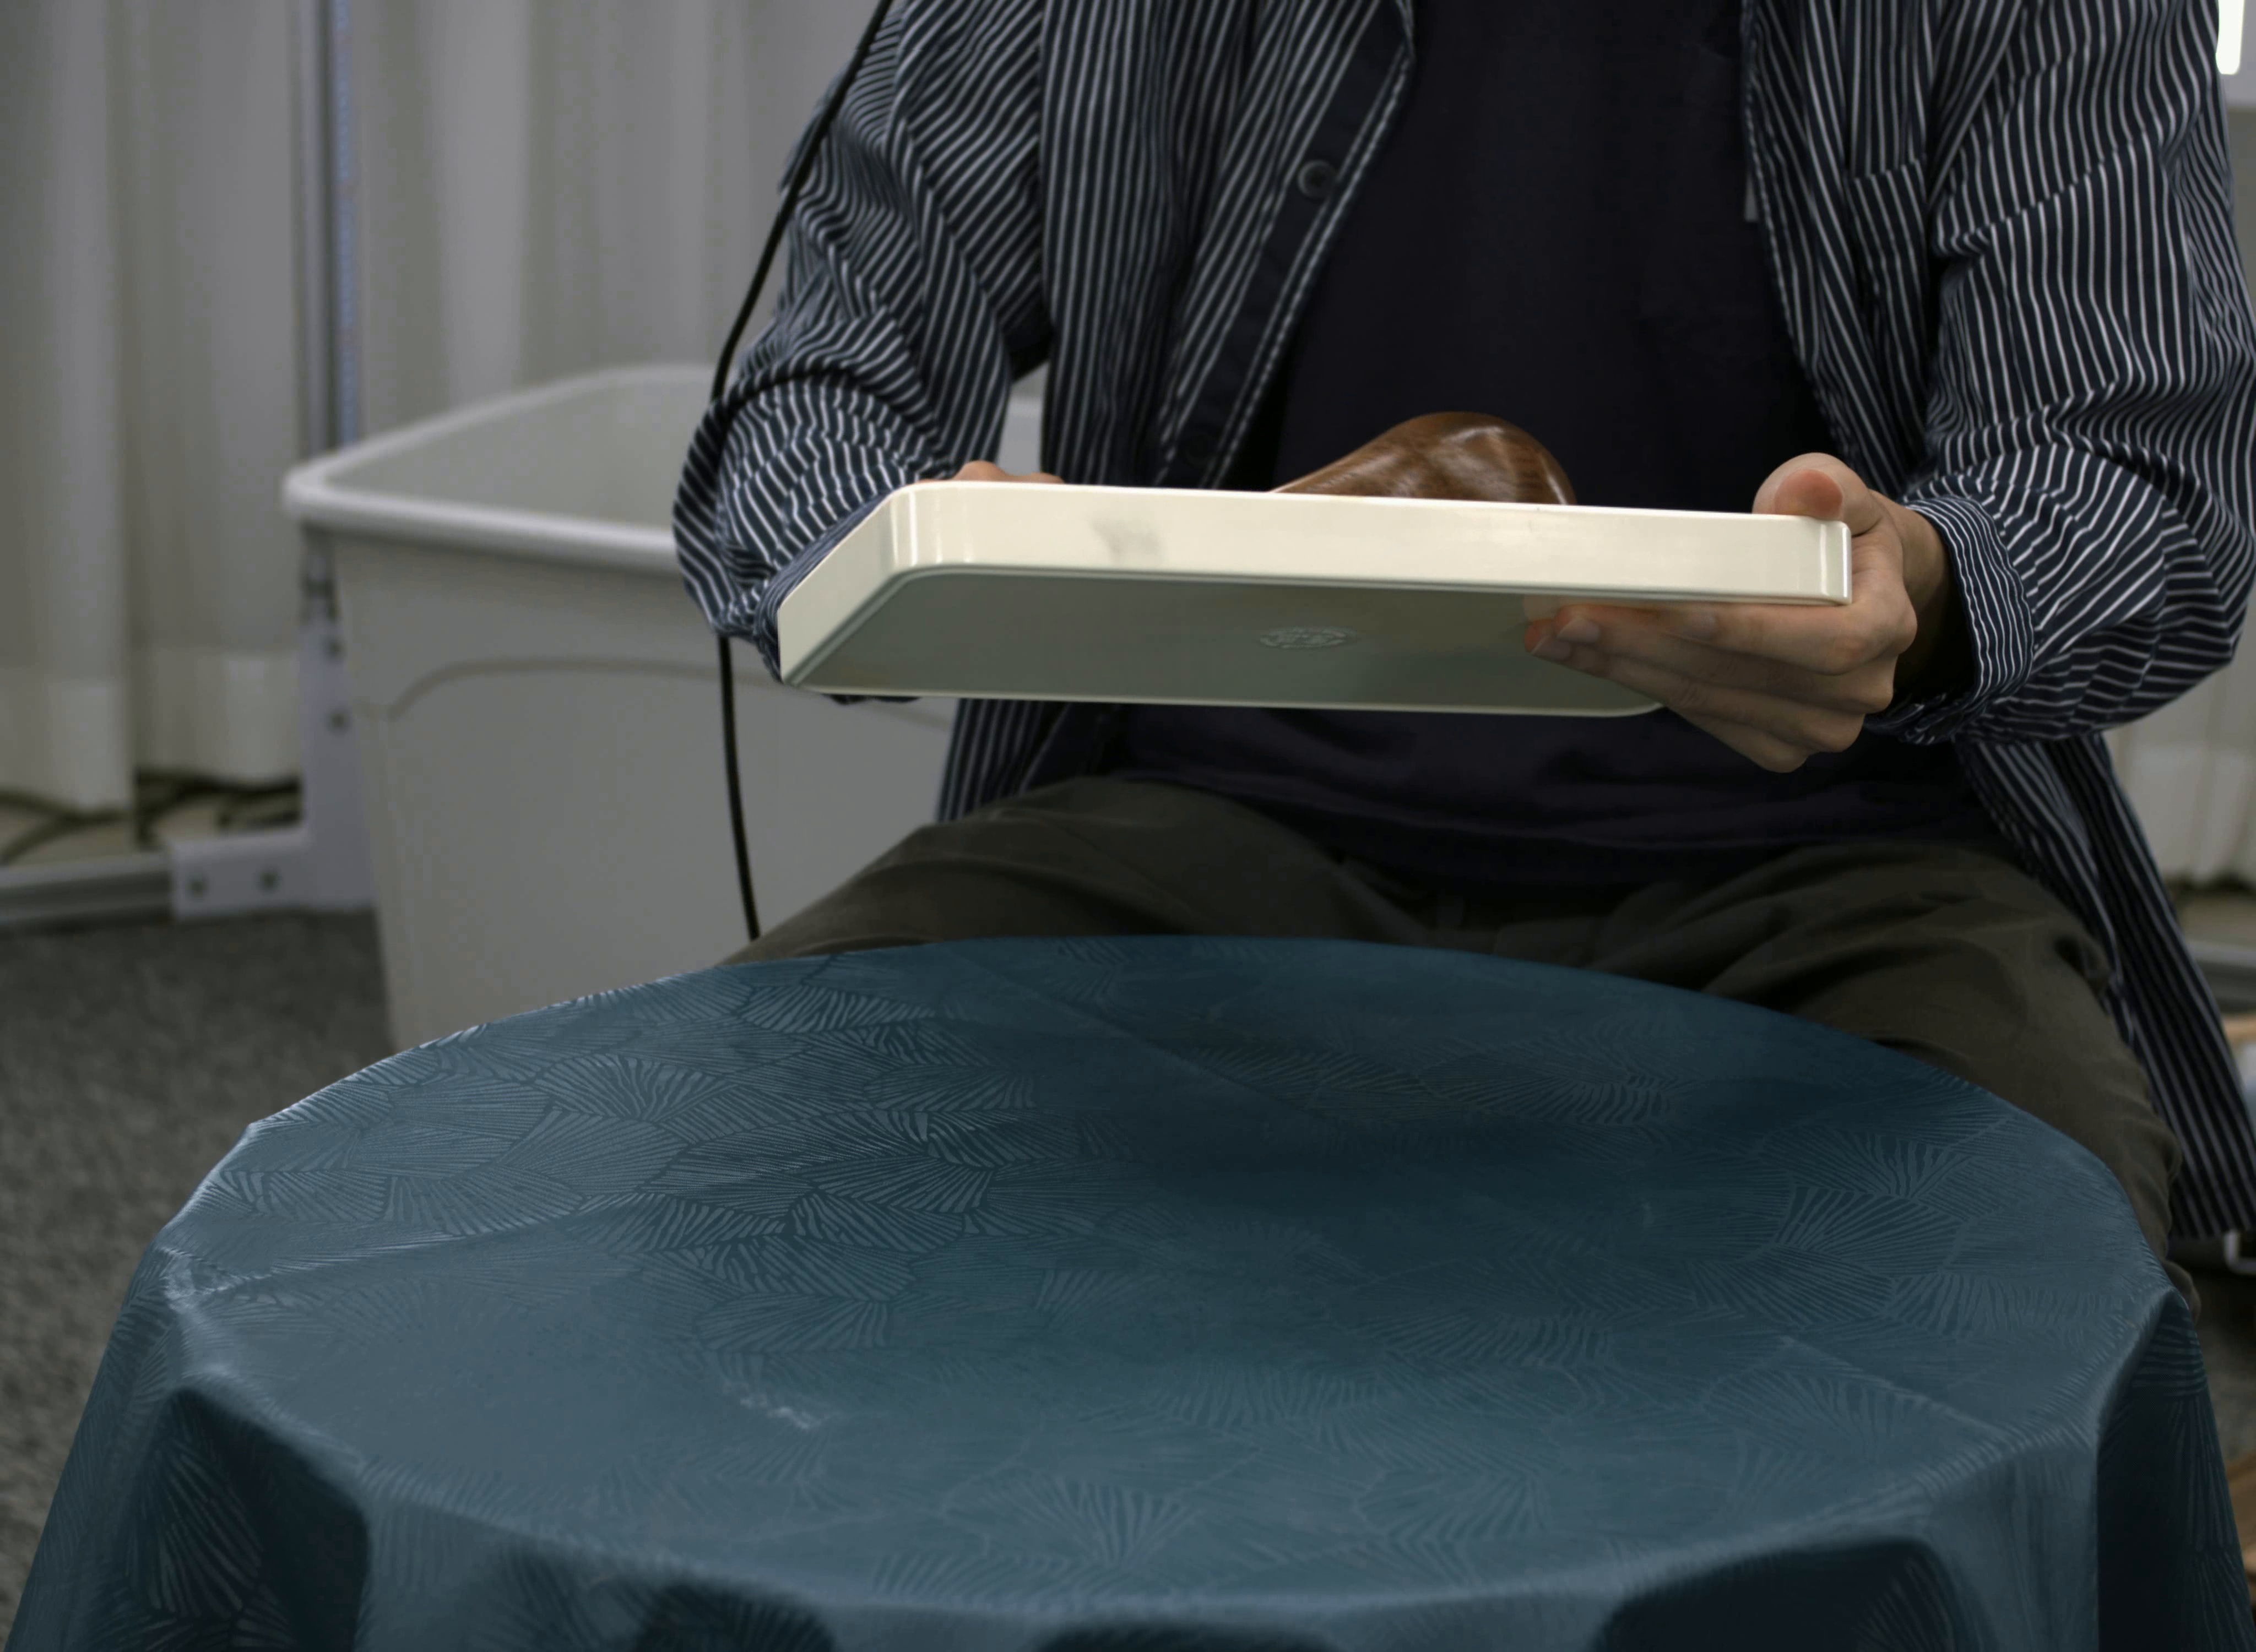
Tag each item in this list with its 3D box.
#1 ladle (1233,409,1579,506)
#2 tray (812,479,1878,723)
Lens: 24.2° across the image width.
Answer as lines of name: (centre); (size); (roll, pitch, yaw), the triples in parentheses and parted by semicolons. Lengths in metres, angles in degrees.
ladle: (0.031, -0.078, 1.747); (0.272, 0.081, 0.077); (-14, -36, 43)
tray: (0.063, -0.066, 1.634); (0.301, 0.027, 0.191); (2, -11, -15)
